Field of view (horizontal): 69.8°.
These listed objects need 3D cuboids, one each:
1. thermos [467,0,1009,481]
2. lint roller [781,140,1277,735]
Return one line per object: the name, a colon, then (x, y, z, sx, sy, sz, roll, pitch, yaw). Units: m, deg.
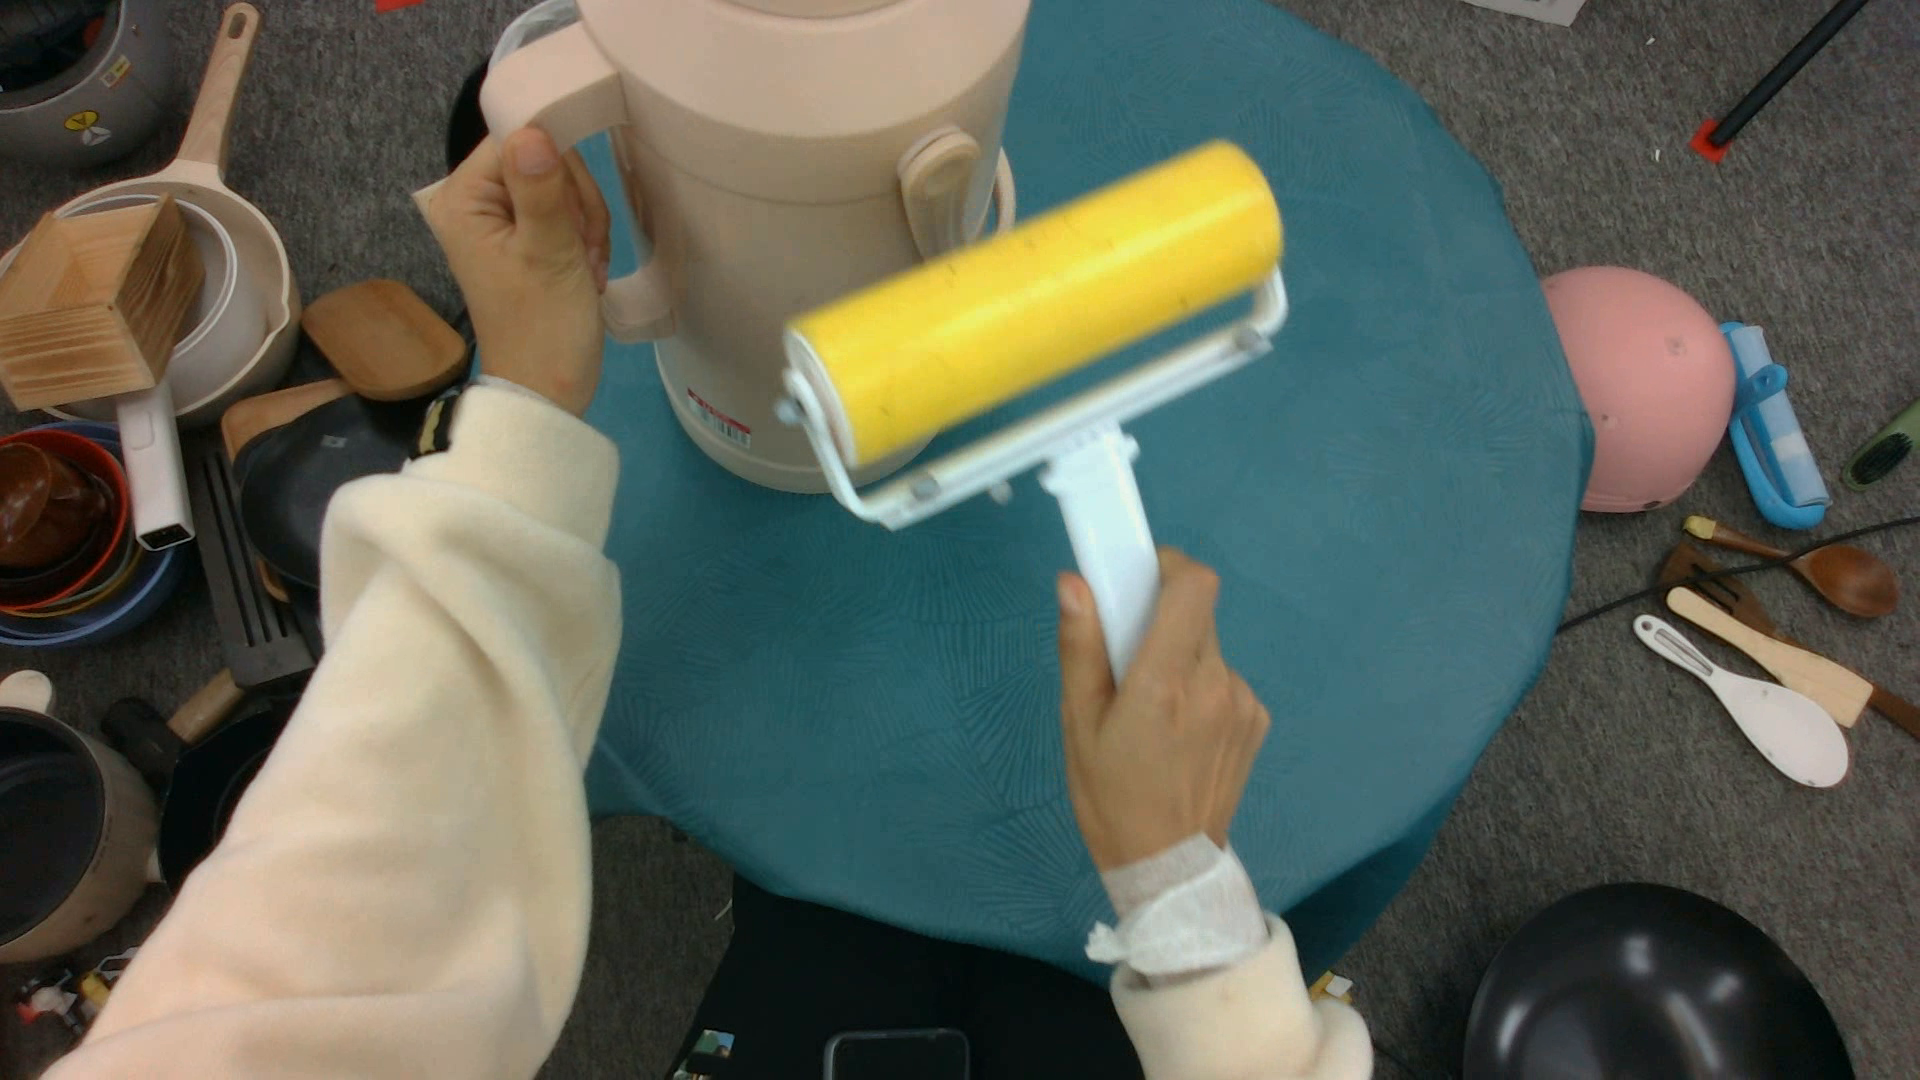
thermos: (-0.079, -0.164, 0.548, 0.207, 0.405, 0.175, -33, 77, -16)
lint roller: (0.051, -0.016, 0.466, 0.175, 0.051, 0.192, -27, 101, -16)
